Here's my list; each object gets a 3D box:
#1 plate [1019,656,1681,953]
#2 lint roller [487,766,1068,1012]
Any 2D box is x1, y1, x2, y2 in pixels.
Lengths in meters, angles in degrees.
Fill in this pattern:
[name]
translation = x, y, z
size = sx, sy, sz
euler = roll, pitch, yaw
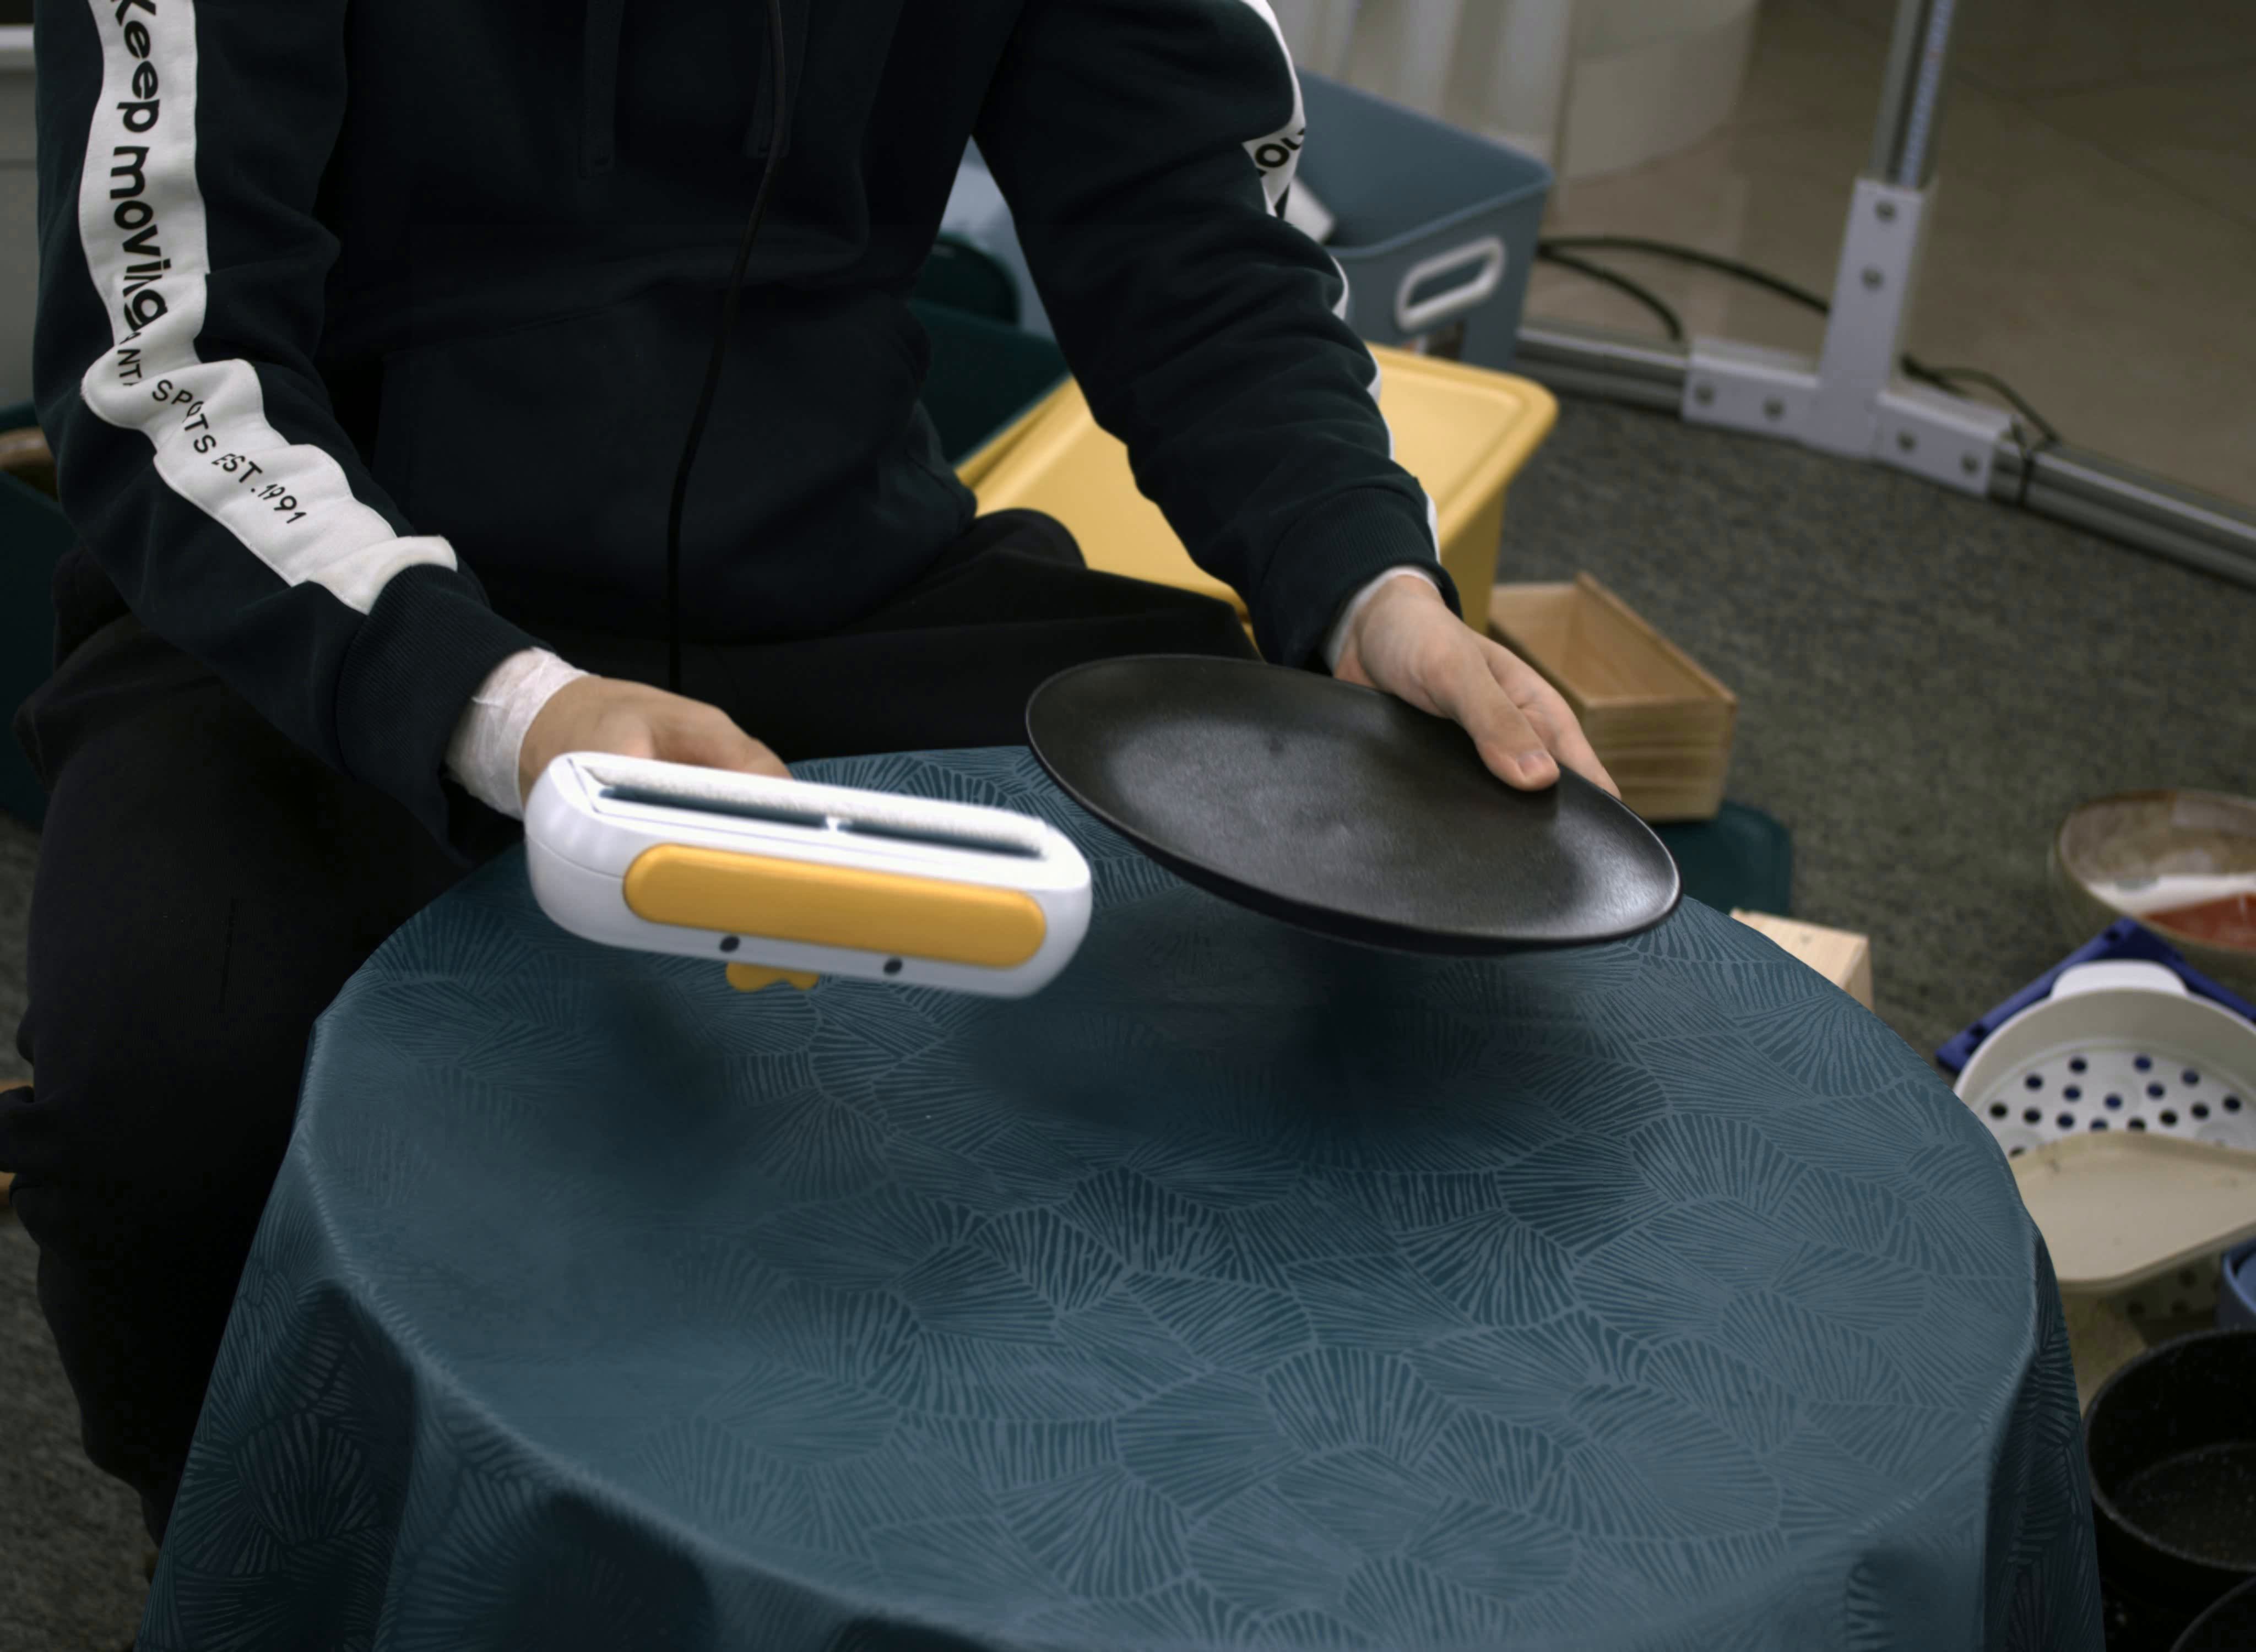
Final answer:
[plate]
translation = 0.077, -0.004, 1.892
size = 0.243, 0.023, 0.245
euler = 13, 20, -5
[lint roller]
translation = -0.131, 0.023, 1.797
size = 0.191, 0.074, 0.193
euler = 6, 2, -16
